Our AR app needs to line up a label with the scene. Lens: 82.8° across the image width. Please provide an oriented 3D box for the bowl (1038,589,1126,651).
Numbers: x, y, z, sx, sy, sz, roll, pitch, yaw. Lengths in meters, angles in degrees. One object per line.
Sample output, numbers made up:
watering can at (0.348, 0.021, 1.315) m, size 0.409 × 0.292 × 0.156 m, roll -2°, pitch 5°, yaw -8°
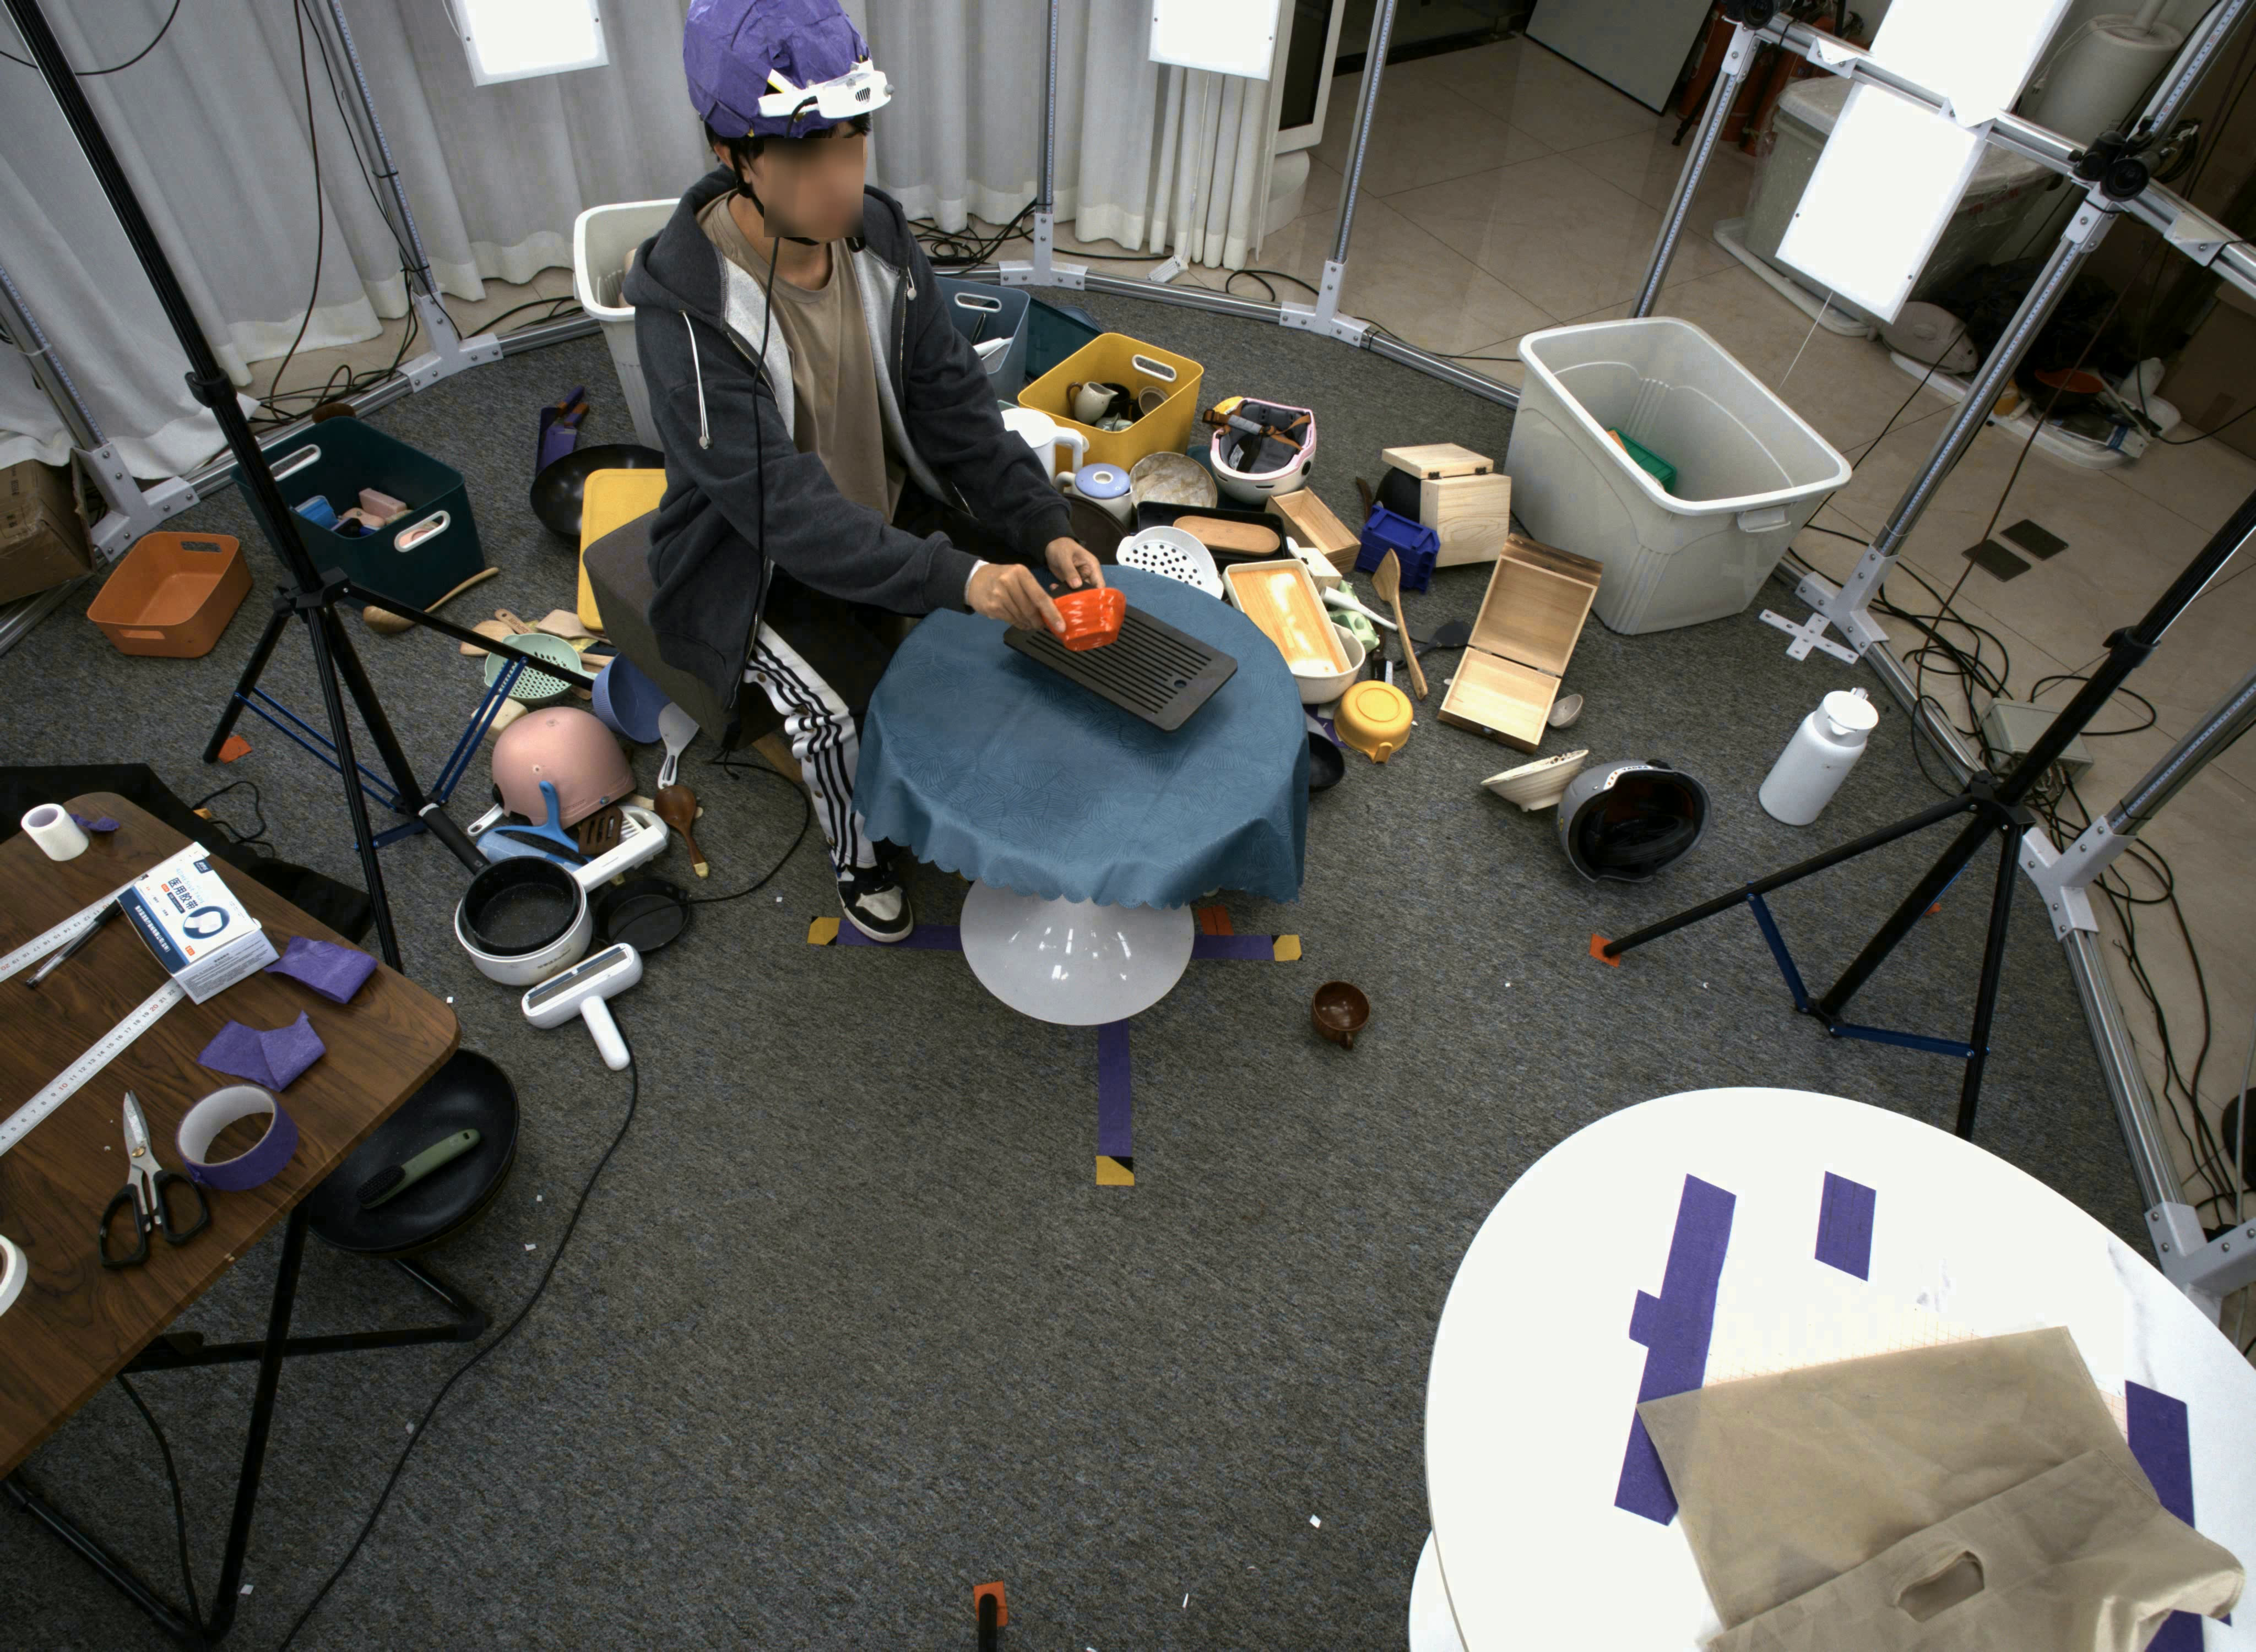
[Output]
bowl at (-0.055, -0.258, 1.634) m, size 0.119 × 0.118 × 0.052 m, roll -8°, pitch 84°, yaw -12°

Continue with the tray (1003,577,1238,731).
tray at (-0.012, -0.247, 1.824) m, size 0.309 × 0.018 × 0.172 m, roll 30°, pitch 57°, yaw 23°
